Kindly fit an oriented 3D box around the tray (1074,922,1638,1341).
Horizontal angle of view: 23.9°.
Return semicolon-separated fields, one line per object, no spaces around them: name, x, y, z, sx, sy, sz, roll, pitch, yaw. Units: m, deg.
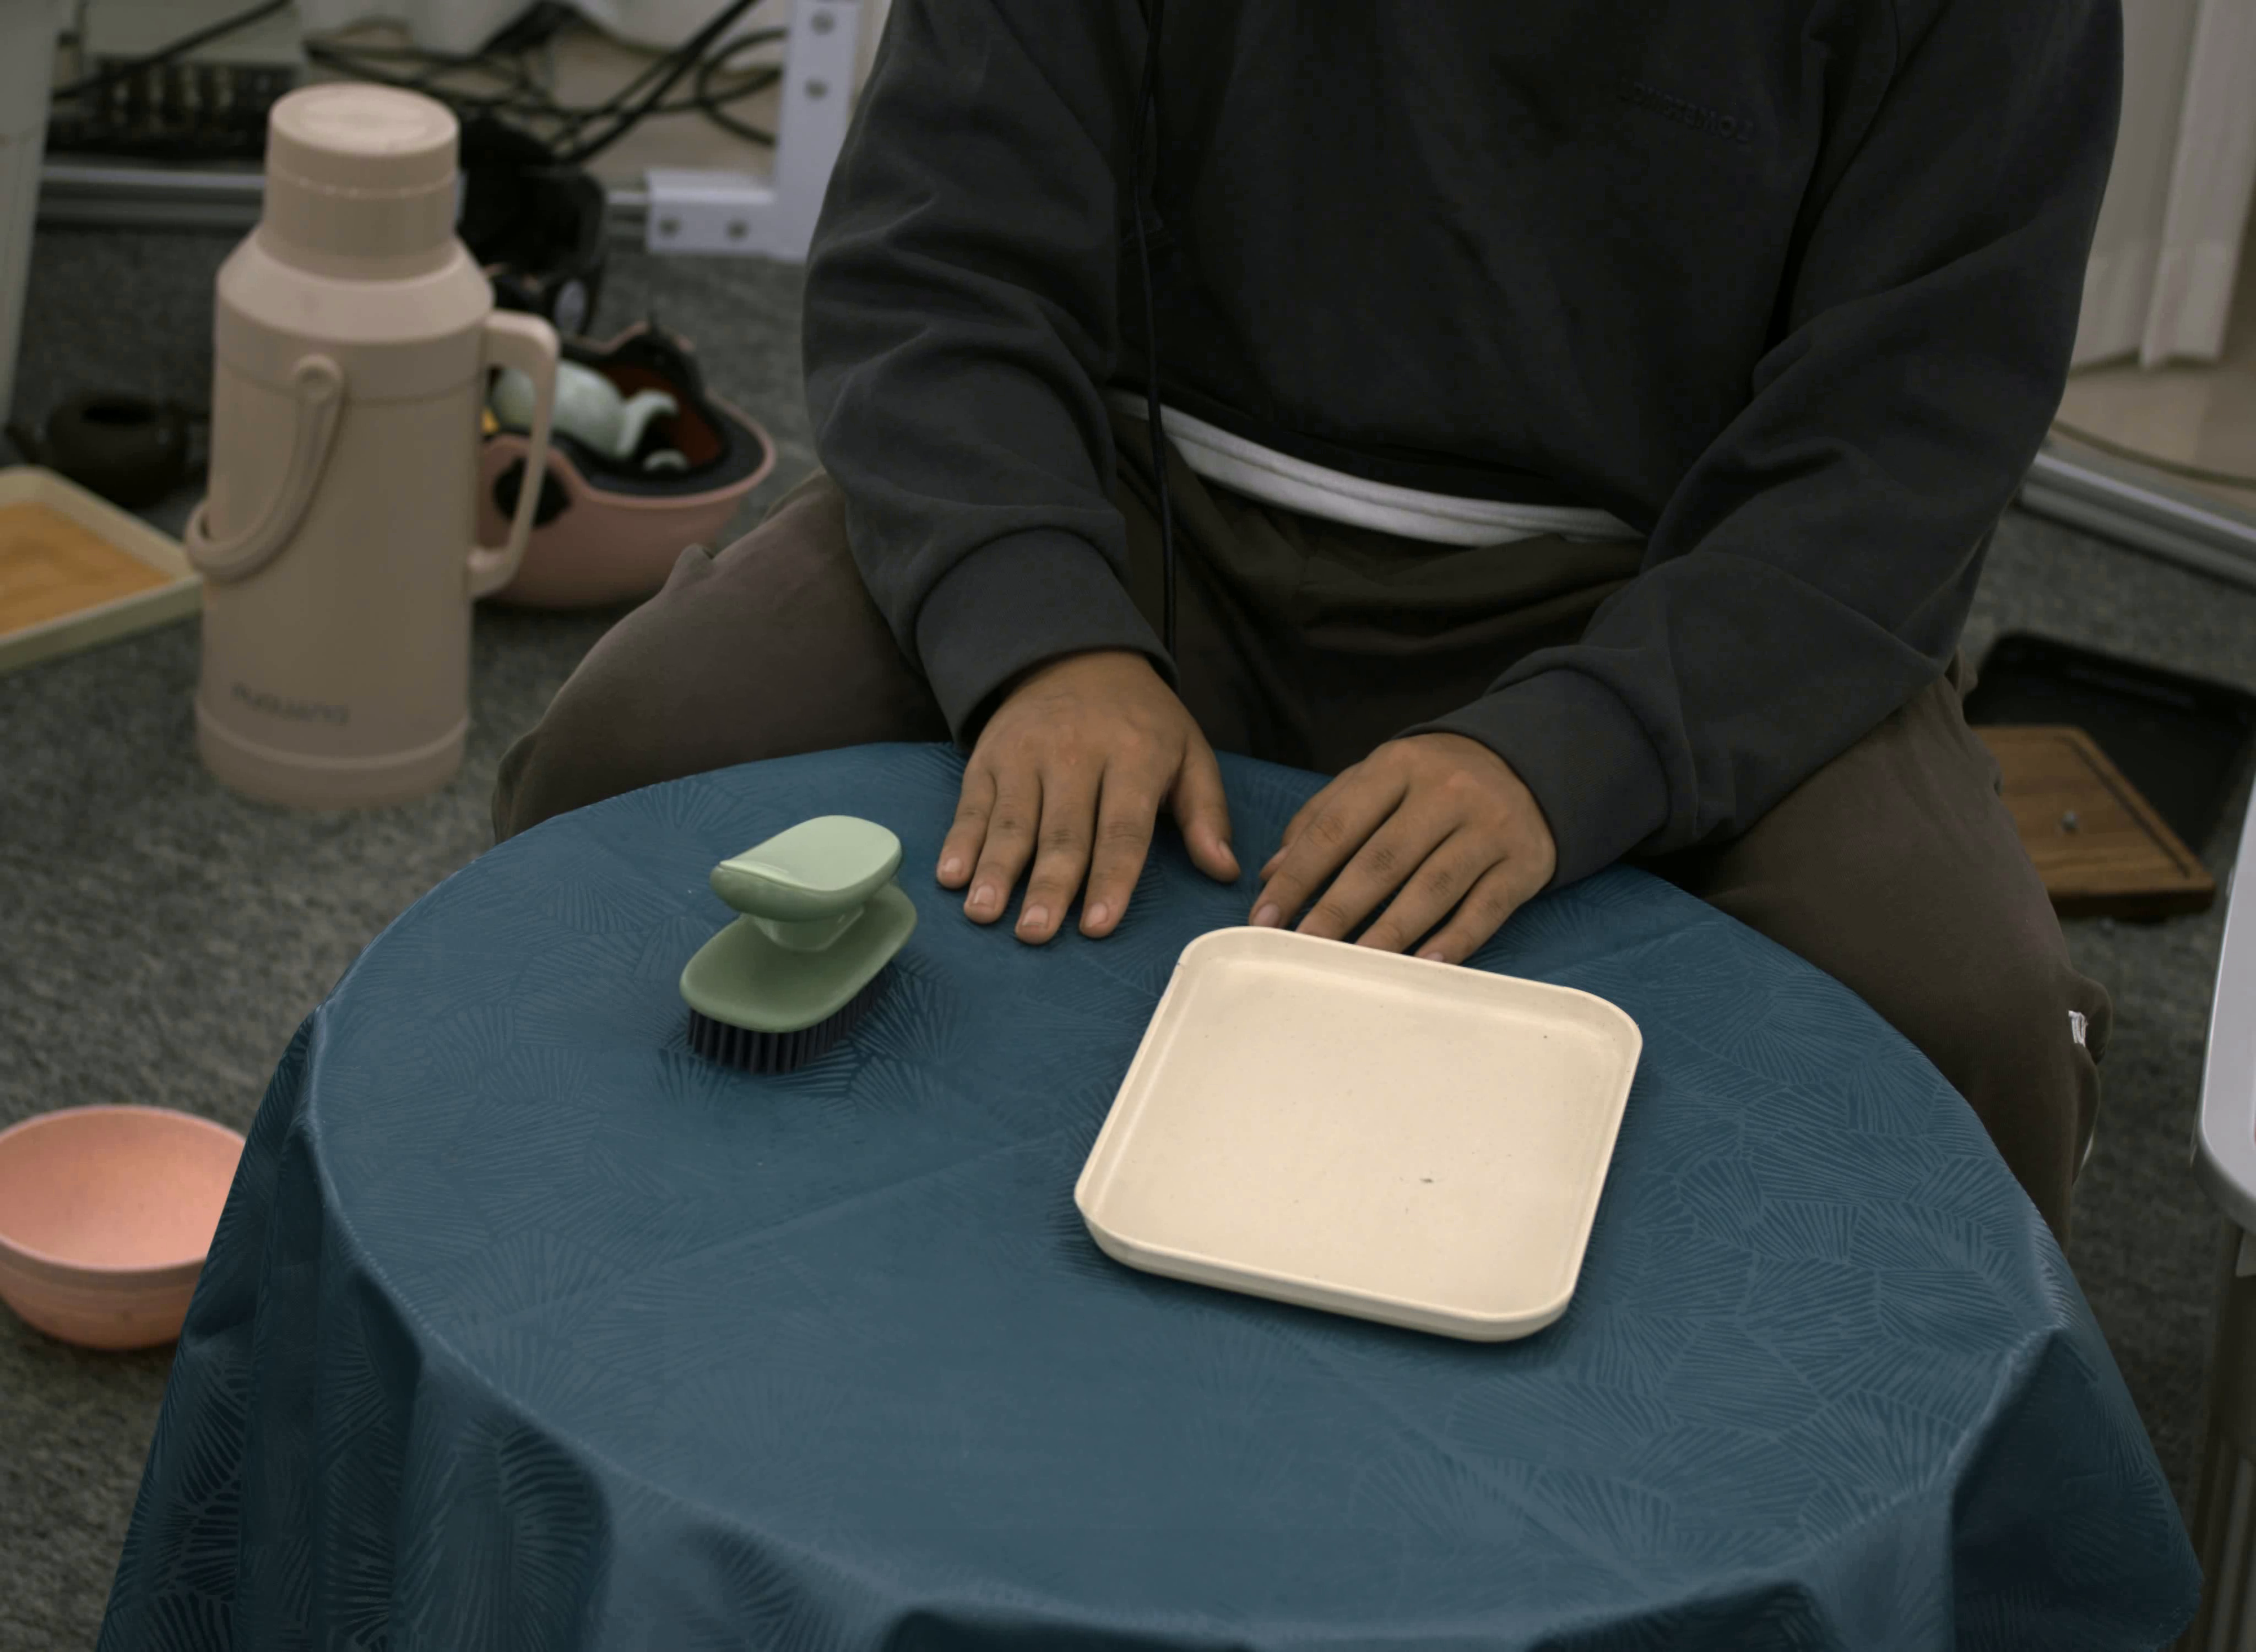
tray;0.082;0.105;1.844;0.171;0.017;0.240;12;27;8

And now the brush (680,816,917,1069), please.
brush;-0.116;0.039;1.886;0.060;0.076;0.123;17;15;16
